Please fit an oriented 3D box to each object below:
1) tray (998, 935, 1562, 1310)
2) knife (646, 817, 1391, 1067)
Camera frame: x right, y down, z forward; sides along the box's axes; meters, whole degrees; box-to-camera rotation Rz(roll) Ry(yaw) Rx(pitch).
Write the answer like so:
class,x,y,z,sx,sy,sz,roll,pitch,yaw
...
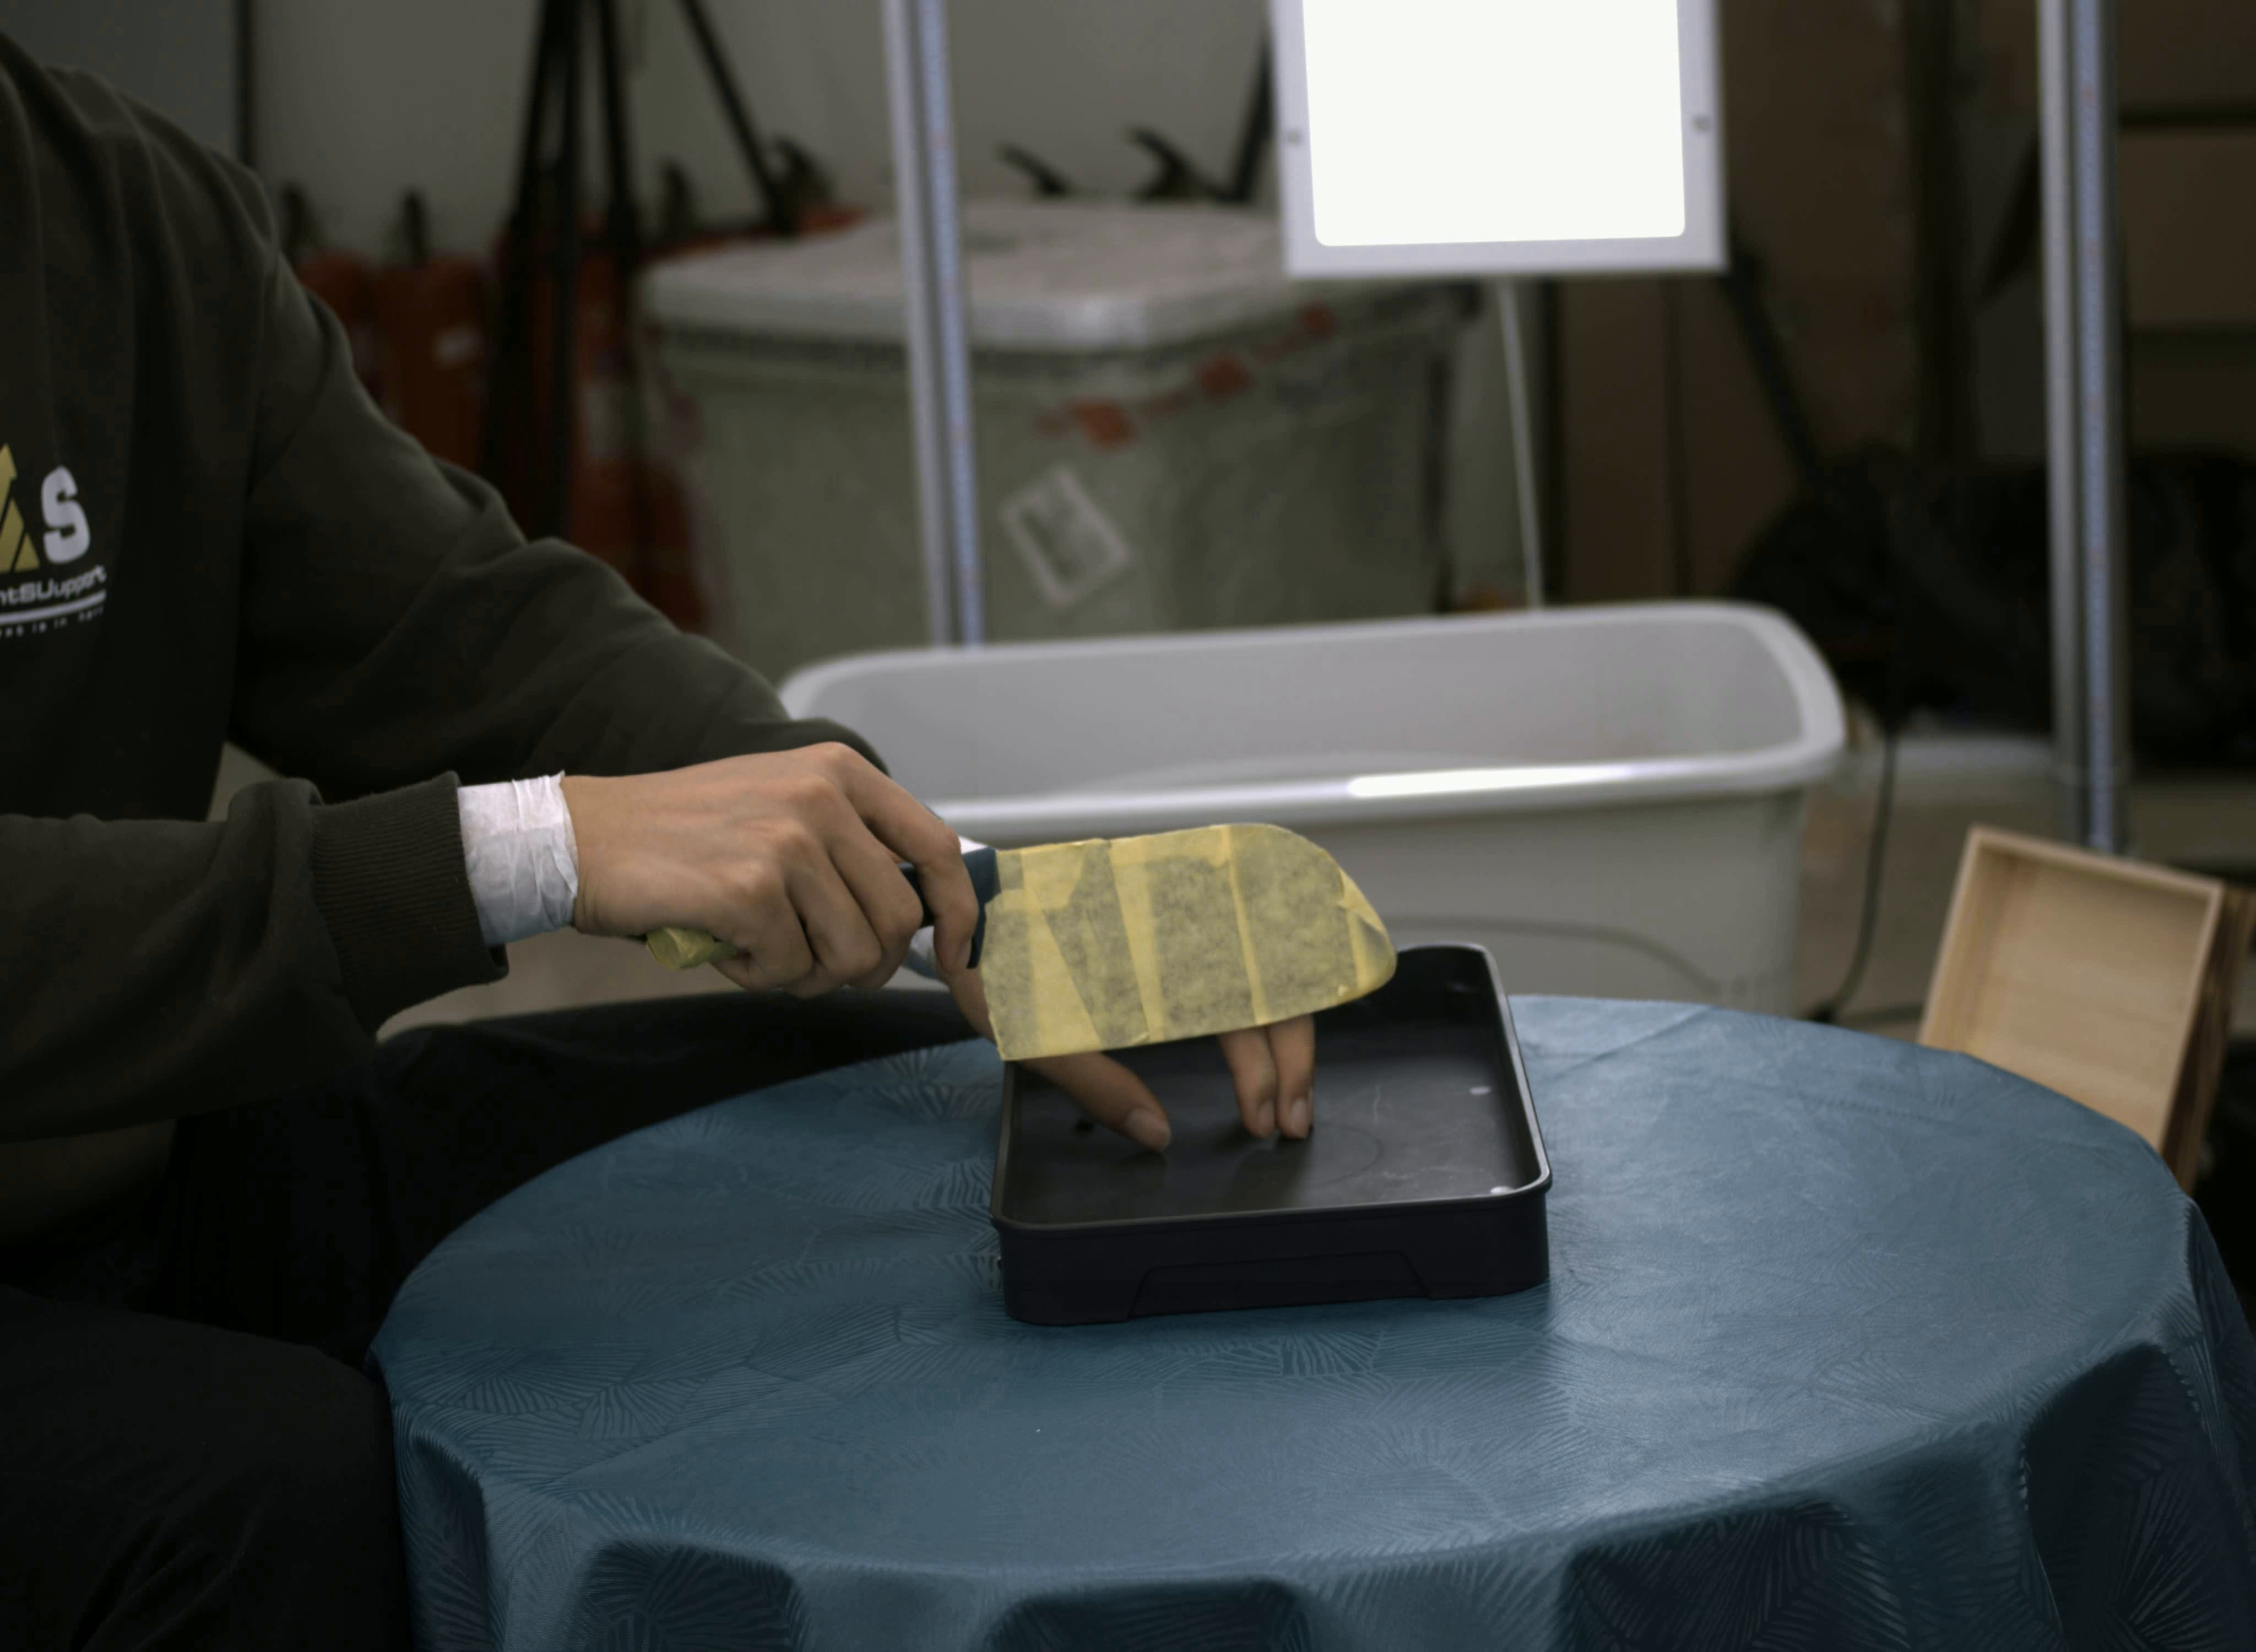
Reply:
class,x,y,z,sx,sy,sz,roll,pitch,yaw
tray,0.047,0.099,1.916,0.184,0.037,0.317,-5,13,0
knife,-0.031,0.042,1.888,0.283,0.081,0.028,-4,-12,-27
